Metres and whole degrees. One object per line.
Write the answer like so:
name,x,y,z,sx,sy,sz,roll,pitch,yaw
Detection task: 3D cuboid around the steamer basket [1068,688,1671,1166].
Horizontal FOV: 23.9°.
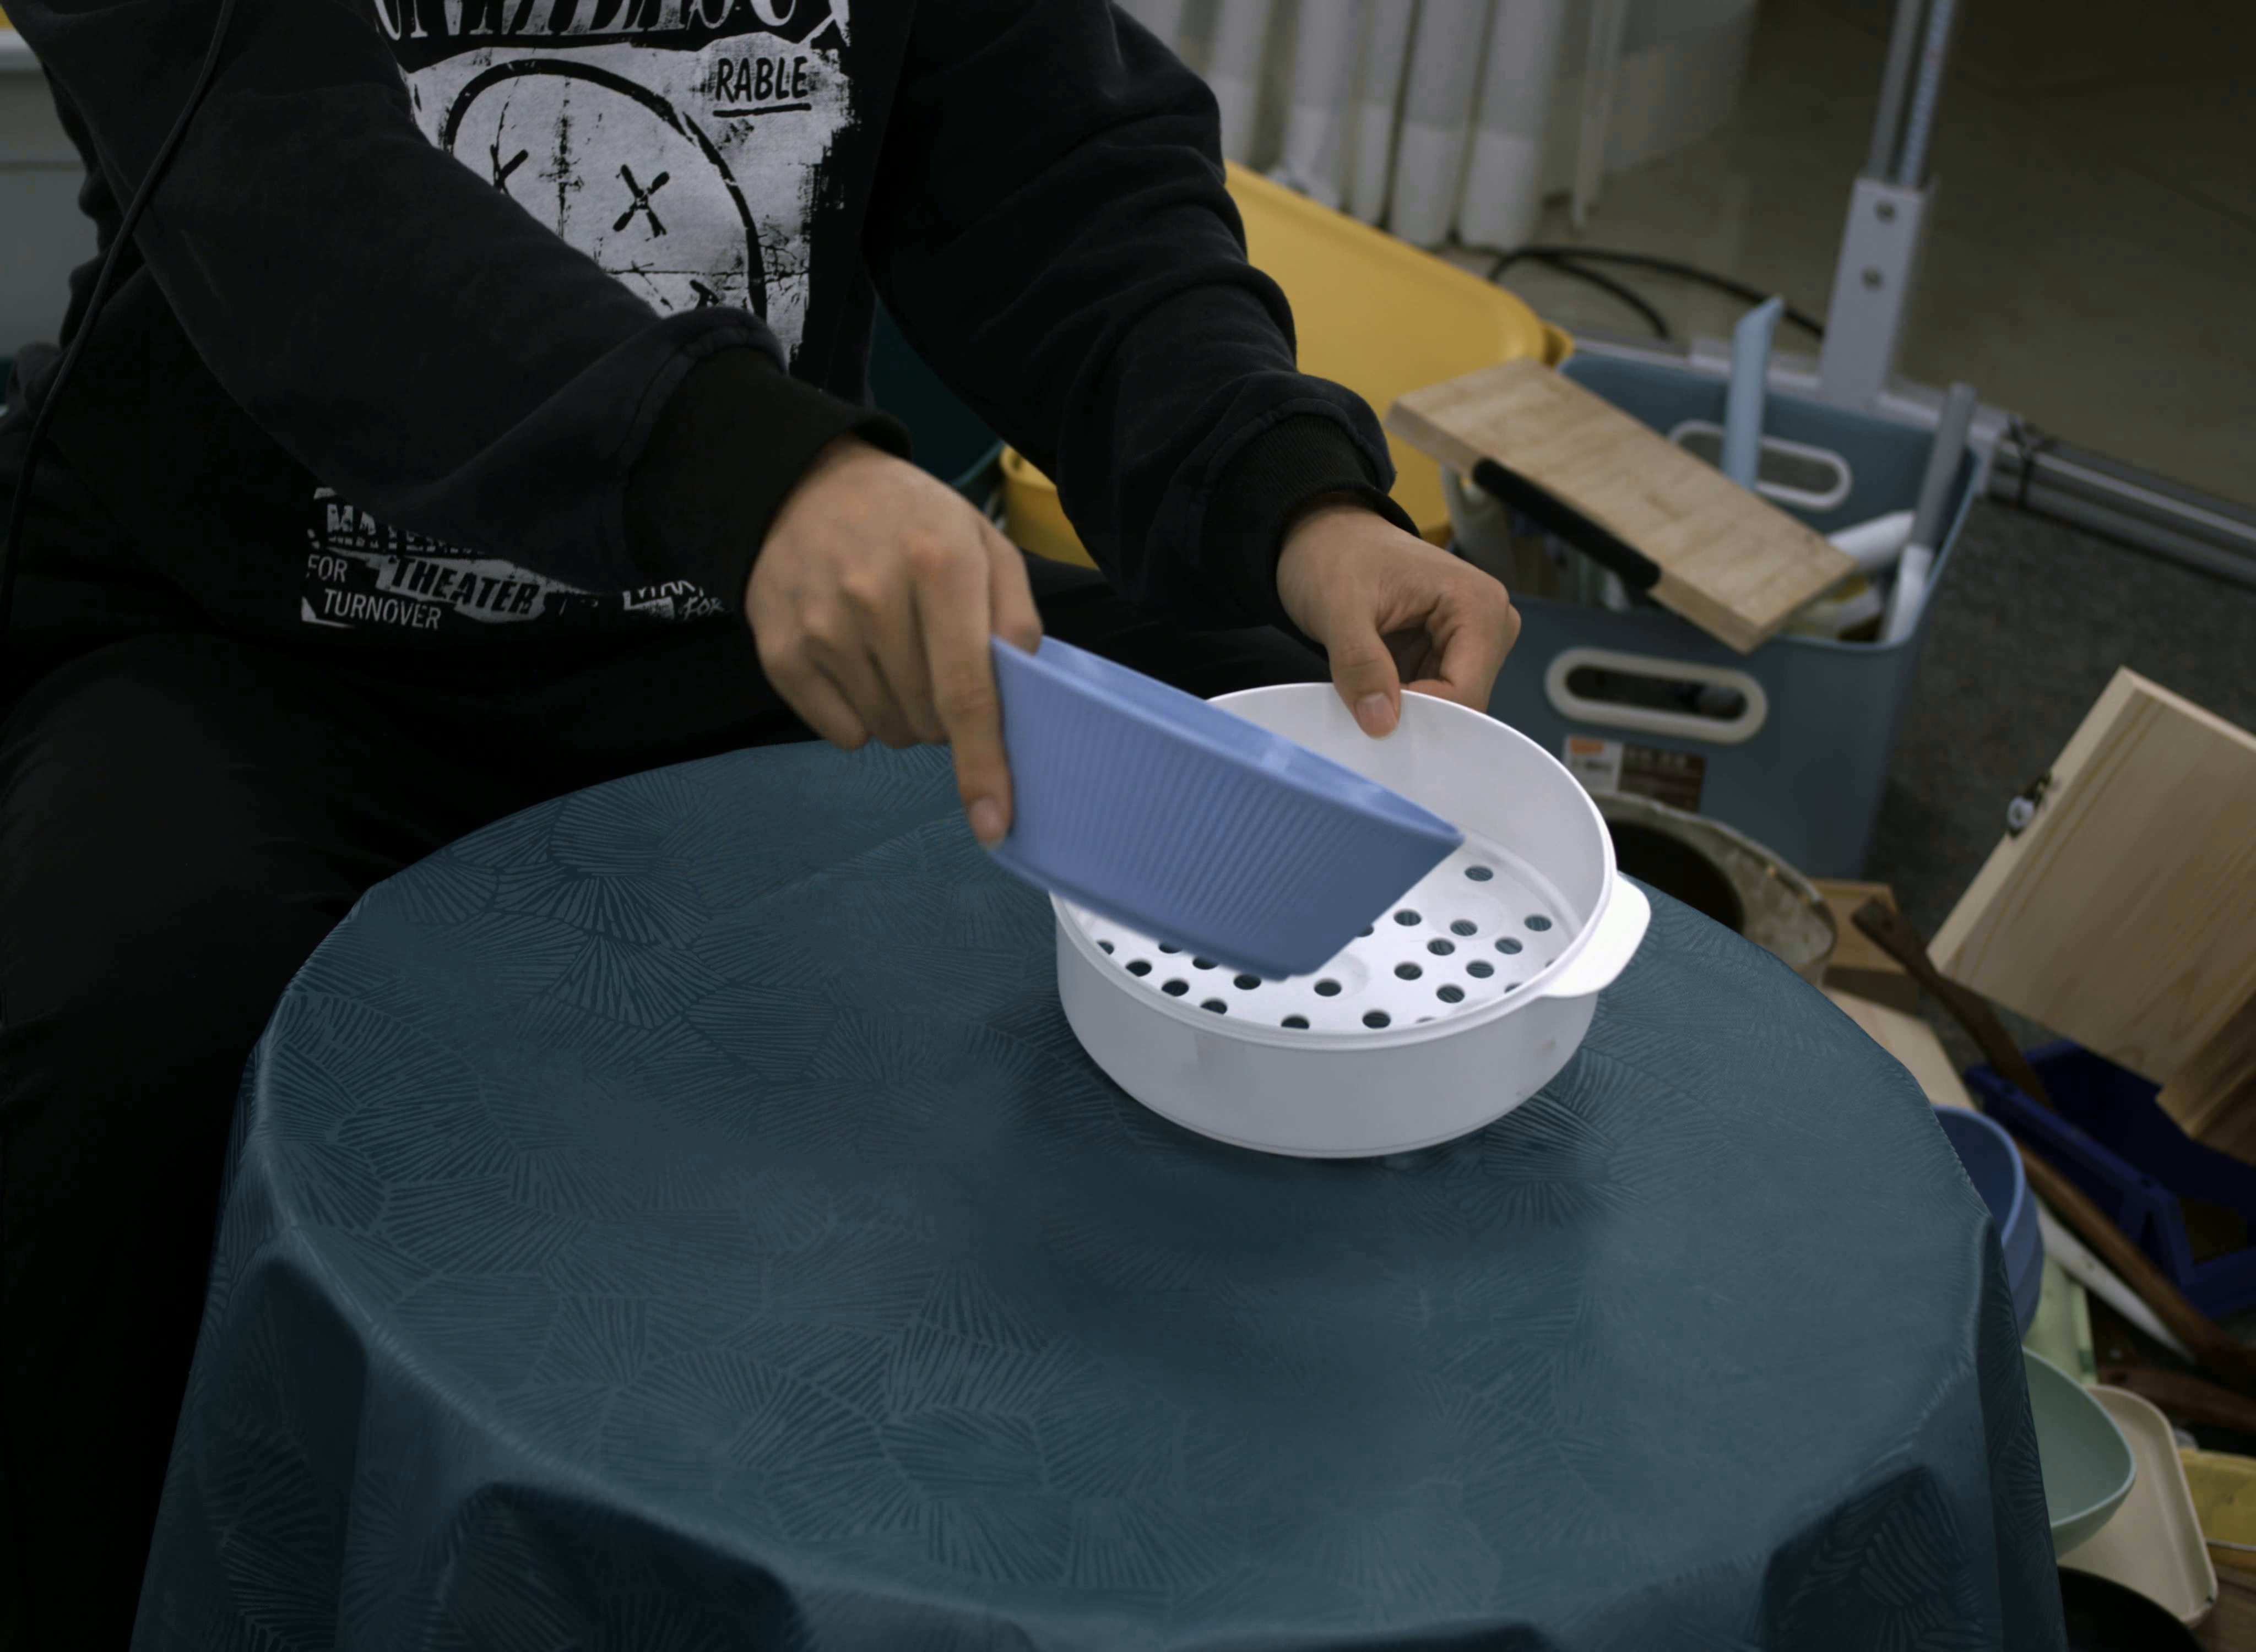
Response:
steamer basket,0.076,0.036,1.882,0.231,0.069,0.202,17,41,19

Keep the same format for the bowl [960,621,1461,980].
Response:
bowl,0.014,-0.003,1.712,0.175,0.070,0.176,24,4,-2
